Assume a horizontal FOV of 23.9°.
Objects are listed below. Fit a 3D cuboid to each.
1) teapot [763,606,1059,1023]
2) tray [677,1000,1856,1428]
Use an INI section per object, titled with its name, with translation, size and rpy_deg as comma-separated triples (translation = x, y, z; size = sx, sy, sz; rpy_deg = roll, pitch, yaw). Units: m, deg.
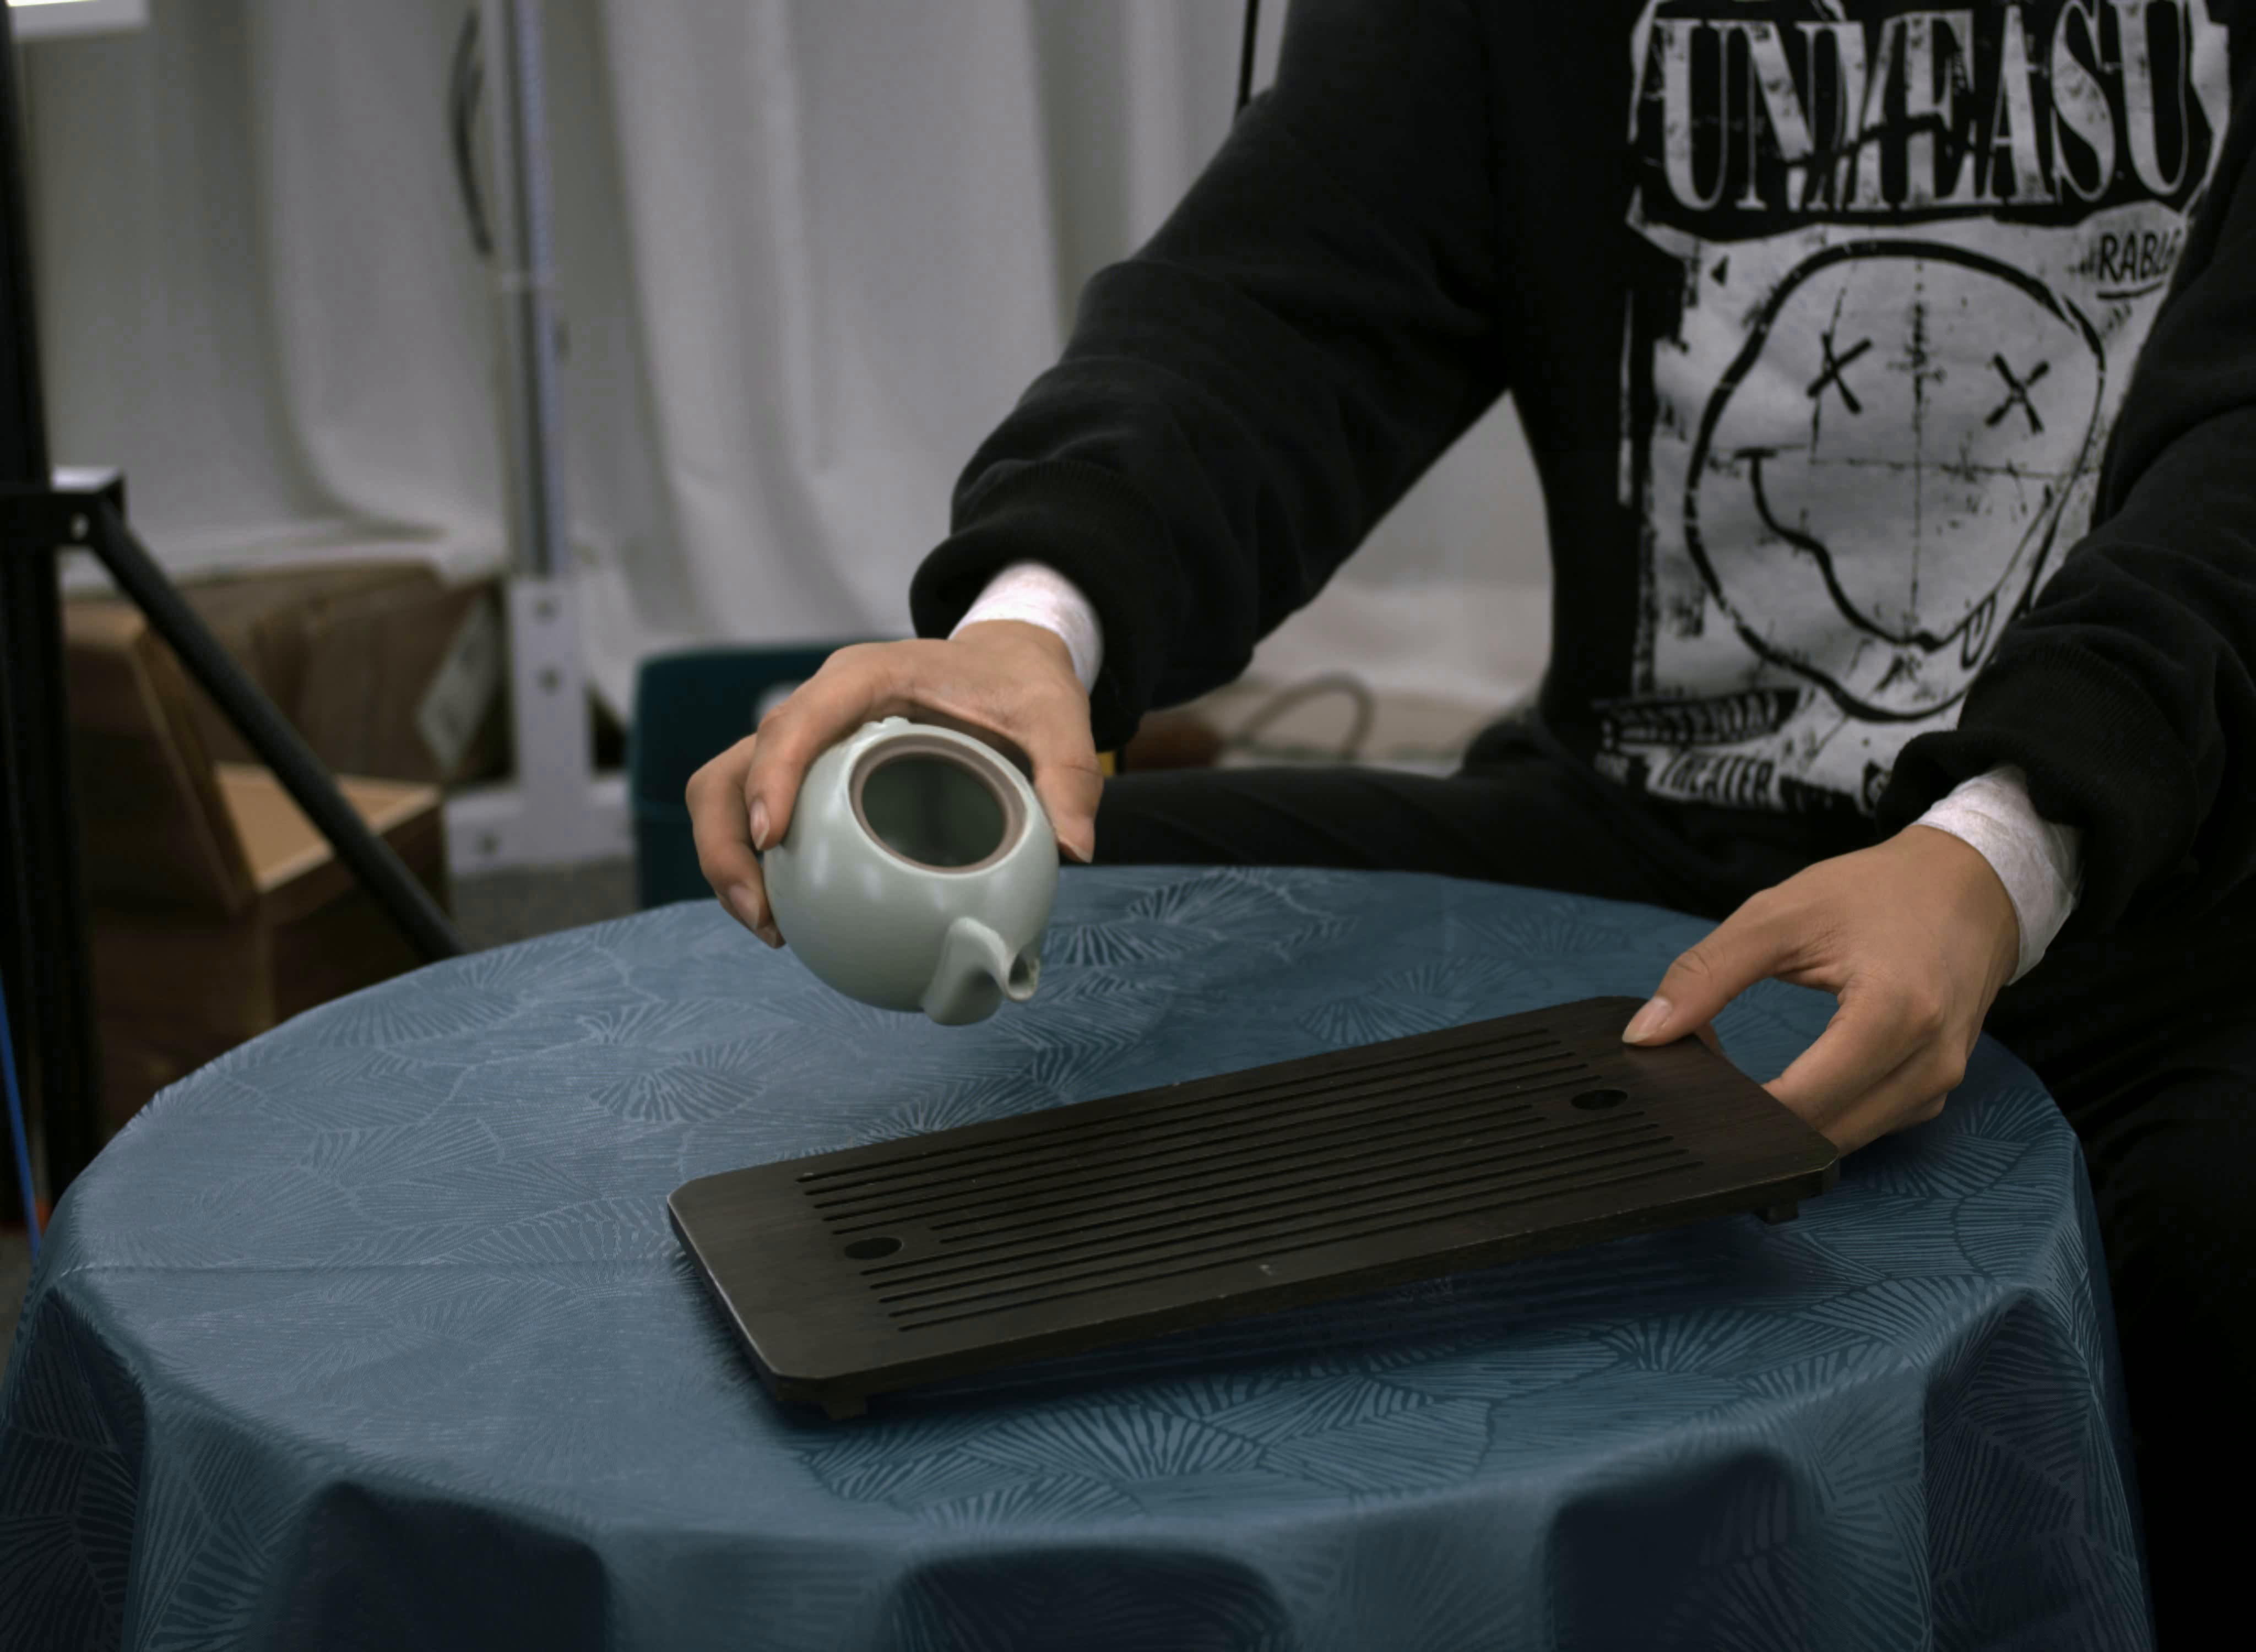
[teapot]
translation = -0.063, 0.010, 1.571
size = 0.086, 0.075, 0.146
rpy_deg = -6, 55, -24
[tray]
translation = 0.036, 0.107, 1.483
size = 0.302, 0.018, 0.172
rpy_deg = -10, 17, -12
